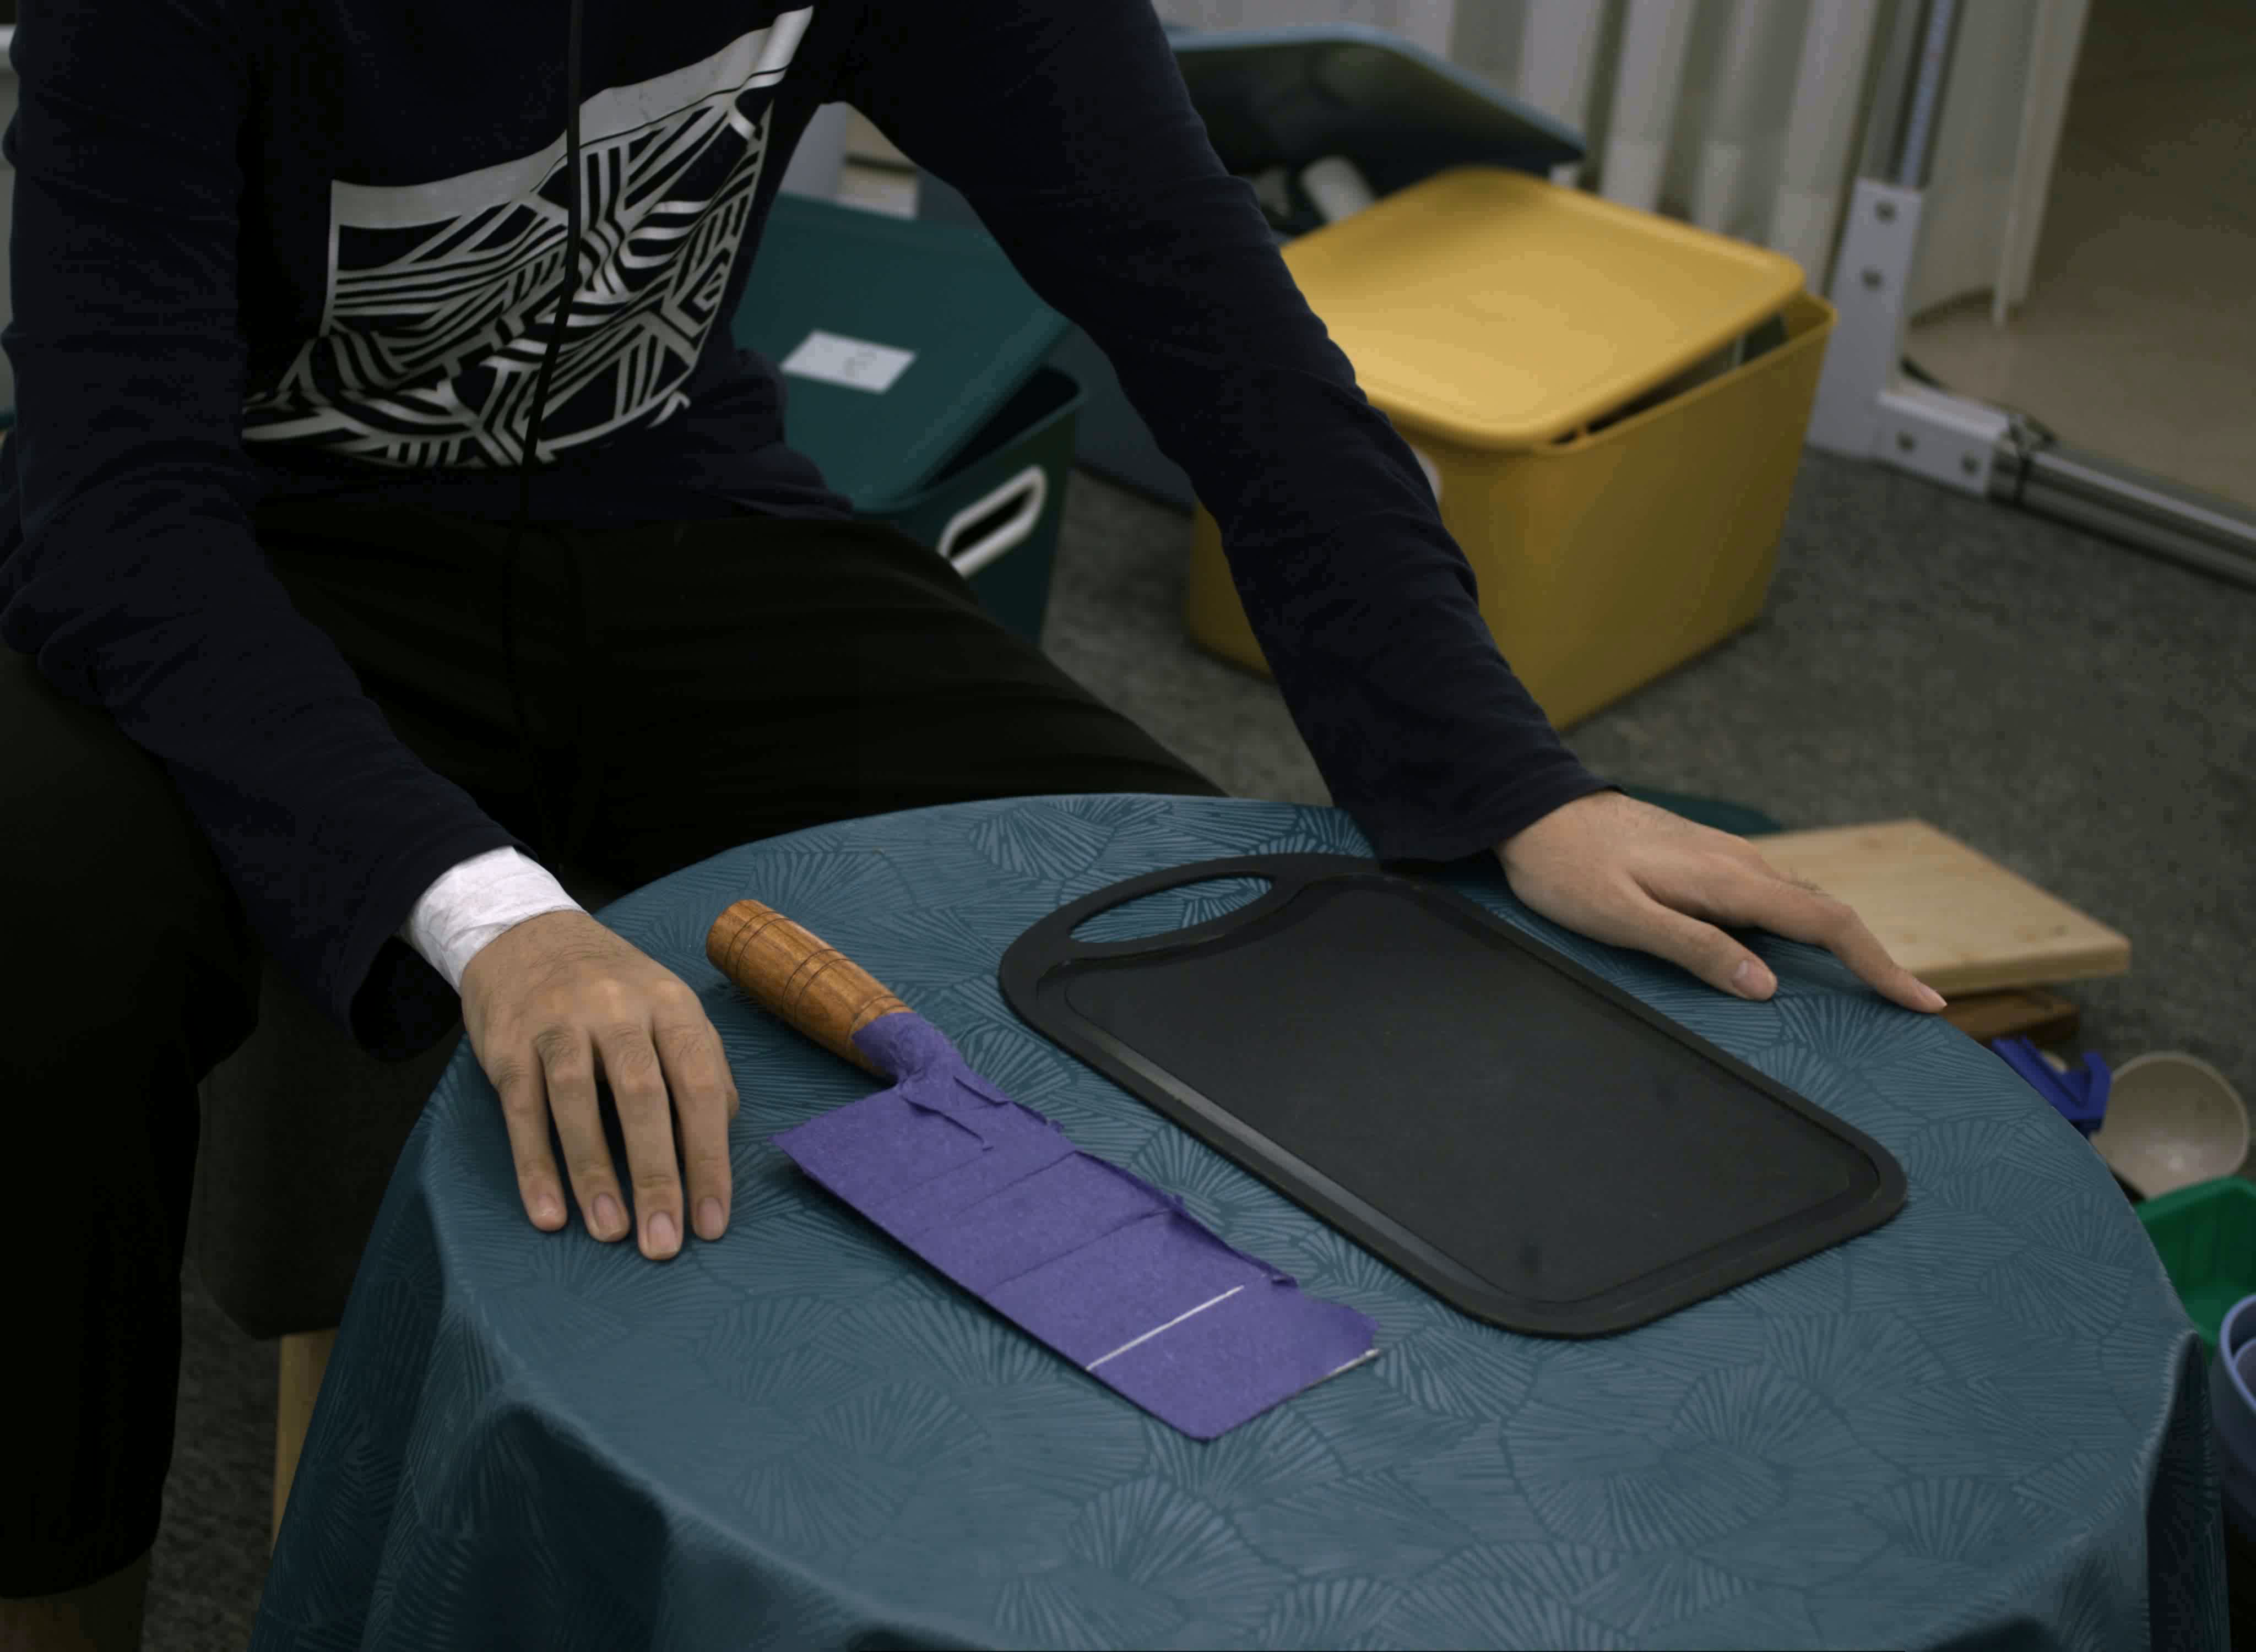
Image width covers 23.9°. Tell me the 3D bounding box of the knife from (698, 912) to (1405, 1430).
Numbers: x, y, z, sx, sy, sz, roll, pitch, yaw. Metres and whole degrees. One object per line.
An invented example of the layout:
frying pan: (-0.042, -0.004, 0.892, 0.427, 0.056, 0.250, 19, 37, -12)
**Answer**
knife: (-0.053, 0.112, 1.787, 0.317, 0.032, 0.103, 29, 34, 36)

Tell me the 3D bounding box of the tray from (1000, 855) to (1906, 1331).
tray: (0.107, 0.085, 1.898, 0.210, 0.010, 0.328, -16, 34, -38)
